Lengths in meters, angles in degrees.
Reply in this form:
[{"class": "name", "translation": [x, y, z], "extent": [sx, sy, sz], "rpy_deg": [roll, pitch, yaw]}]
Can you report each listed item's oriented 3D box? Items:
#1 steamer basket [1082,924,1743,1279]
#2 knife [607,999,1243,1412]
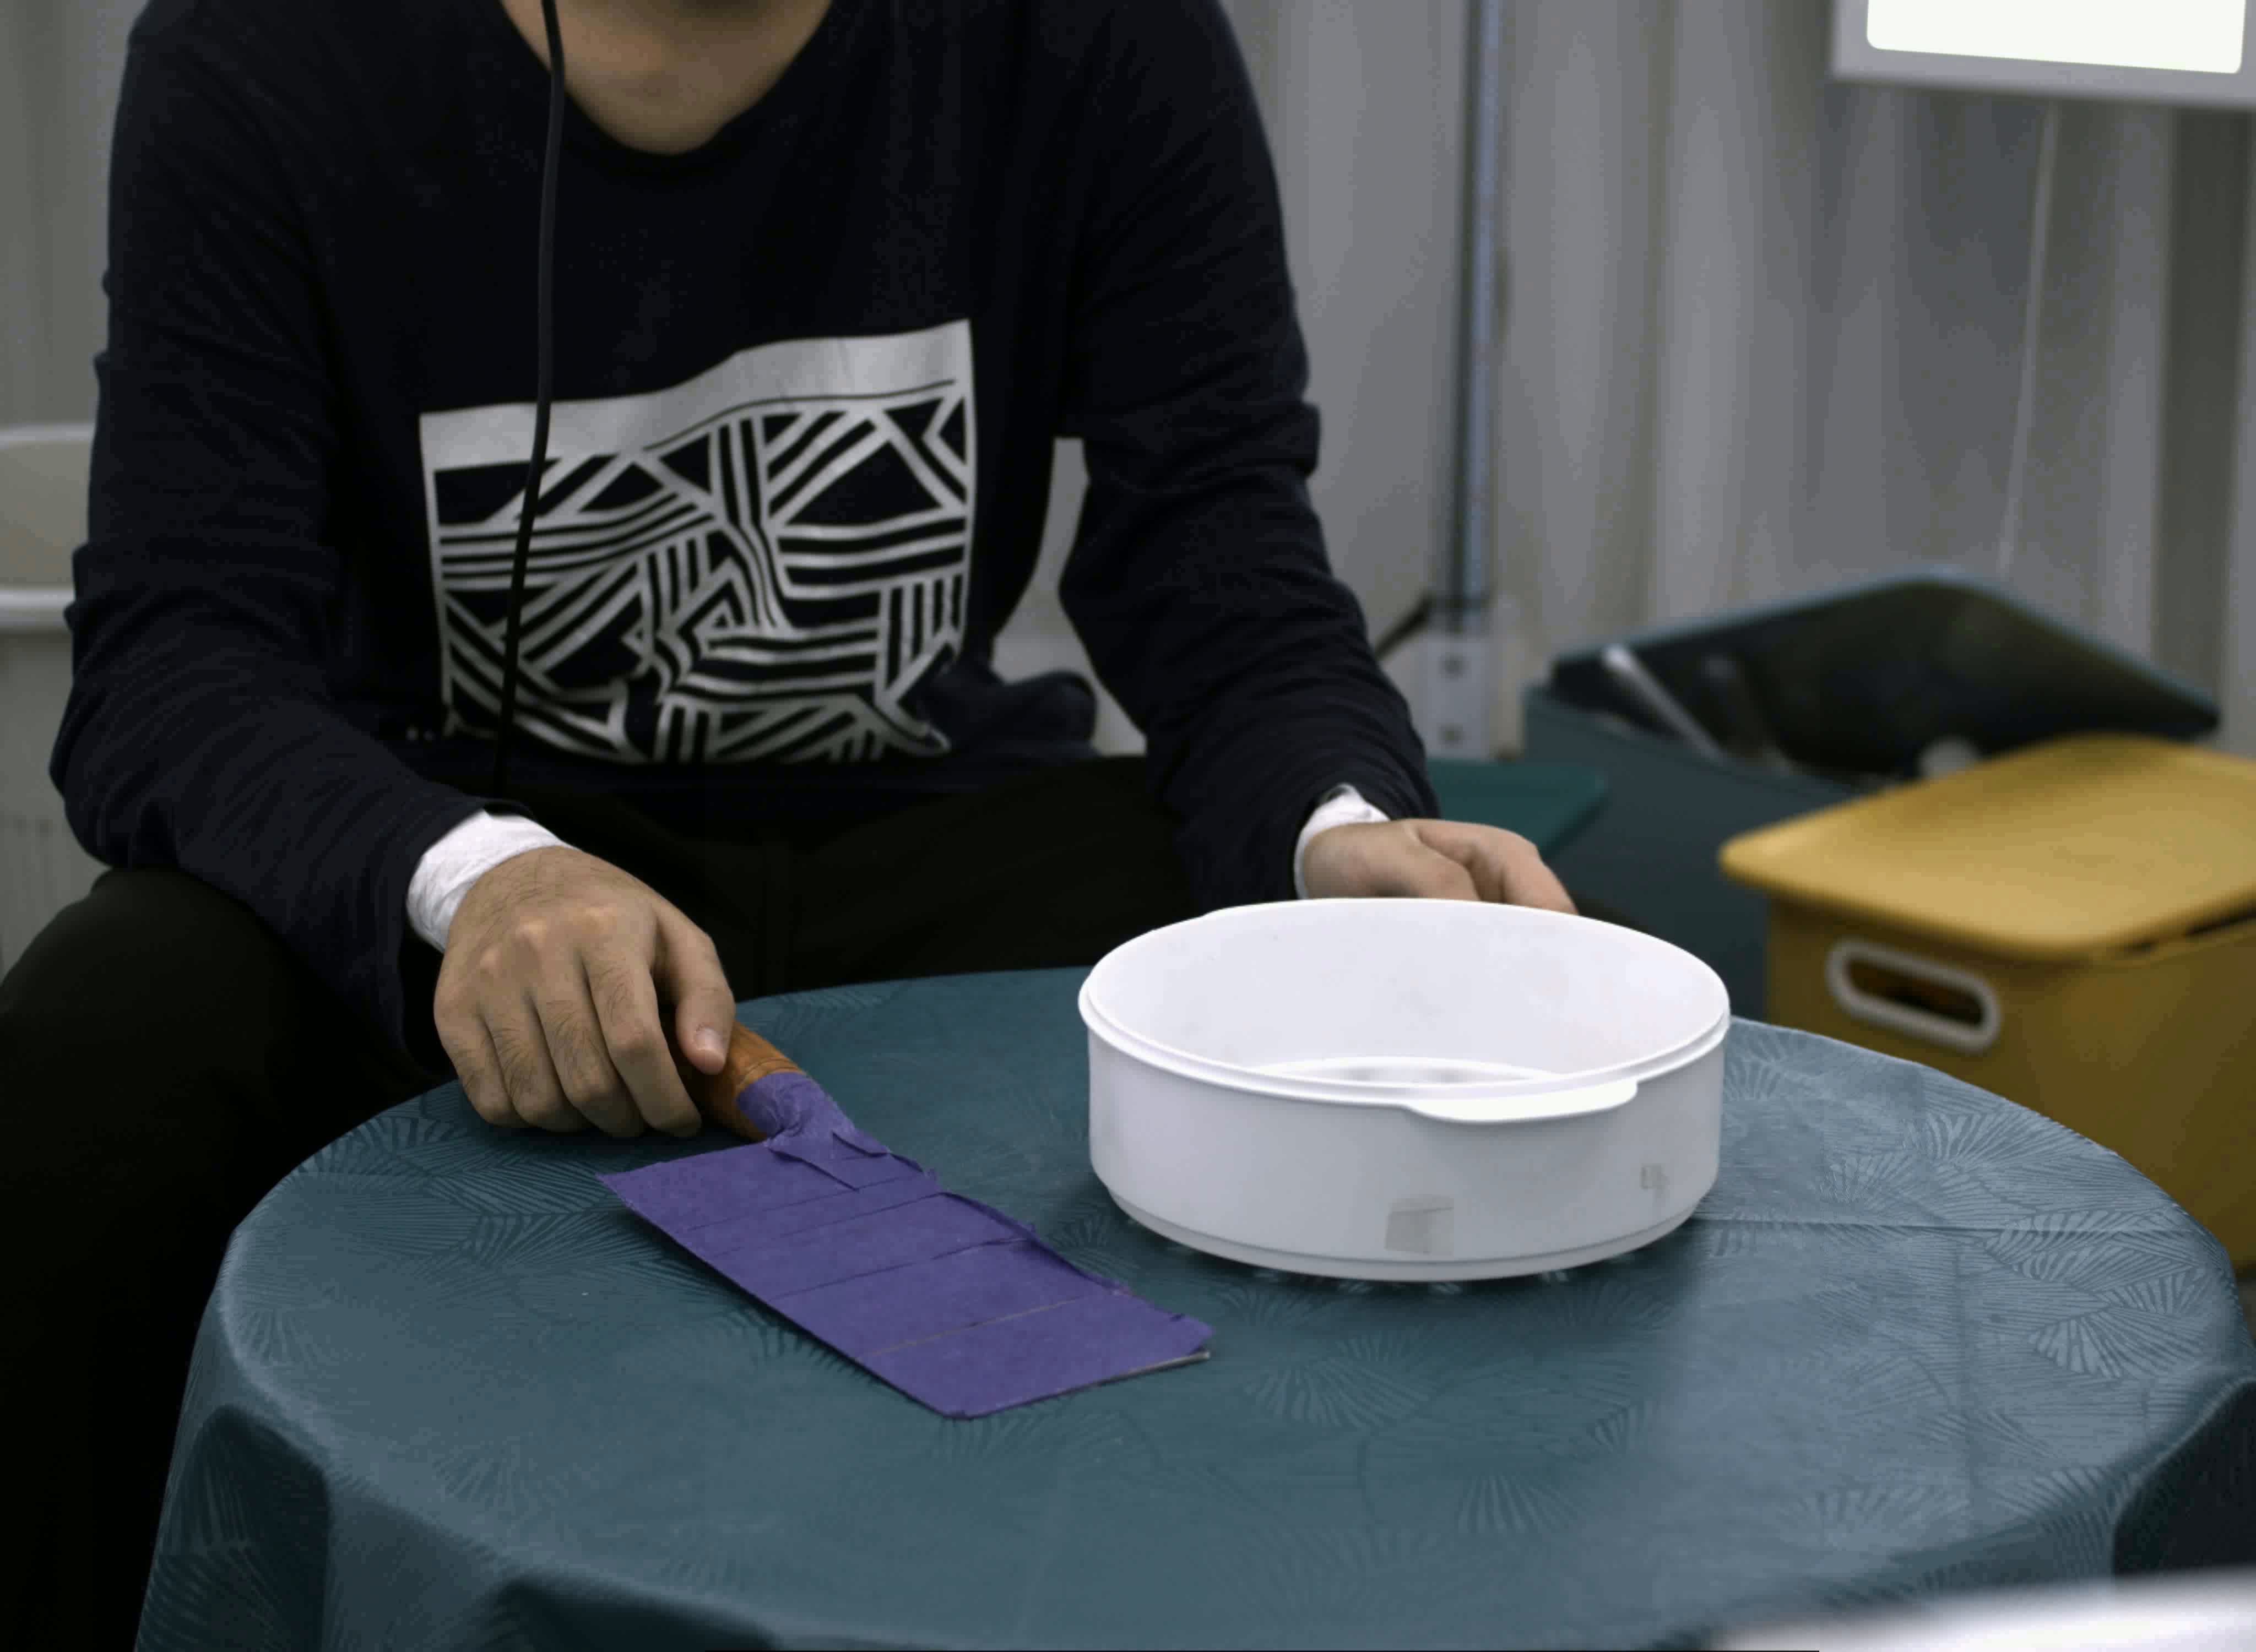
[{"class": "steamer basket", "translation": [0.086, 0.084, 1.611], "extent": [0.202, 0.070, 0.228], "rpy_deg": [-3, 13, -18]}, {"class": "knife", "translation": [-0.095, 0.110, 1.580], "extent": [0.104, 0.032, 0.311], "rpy_deg": [-10, 19, -33]}]
